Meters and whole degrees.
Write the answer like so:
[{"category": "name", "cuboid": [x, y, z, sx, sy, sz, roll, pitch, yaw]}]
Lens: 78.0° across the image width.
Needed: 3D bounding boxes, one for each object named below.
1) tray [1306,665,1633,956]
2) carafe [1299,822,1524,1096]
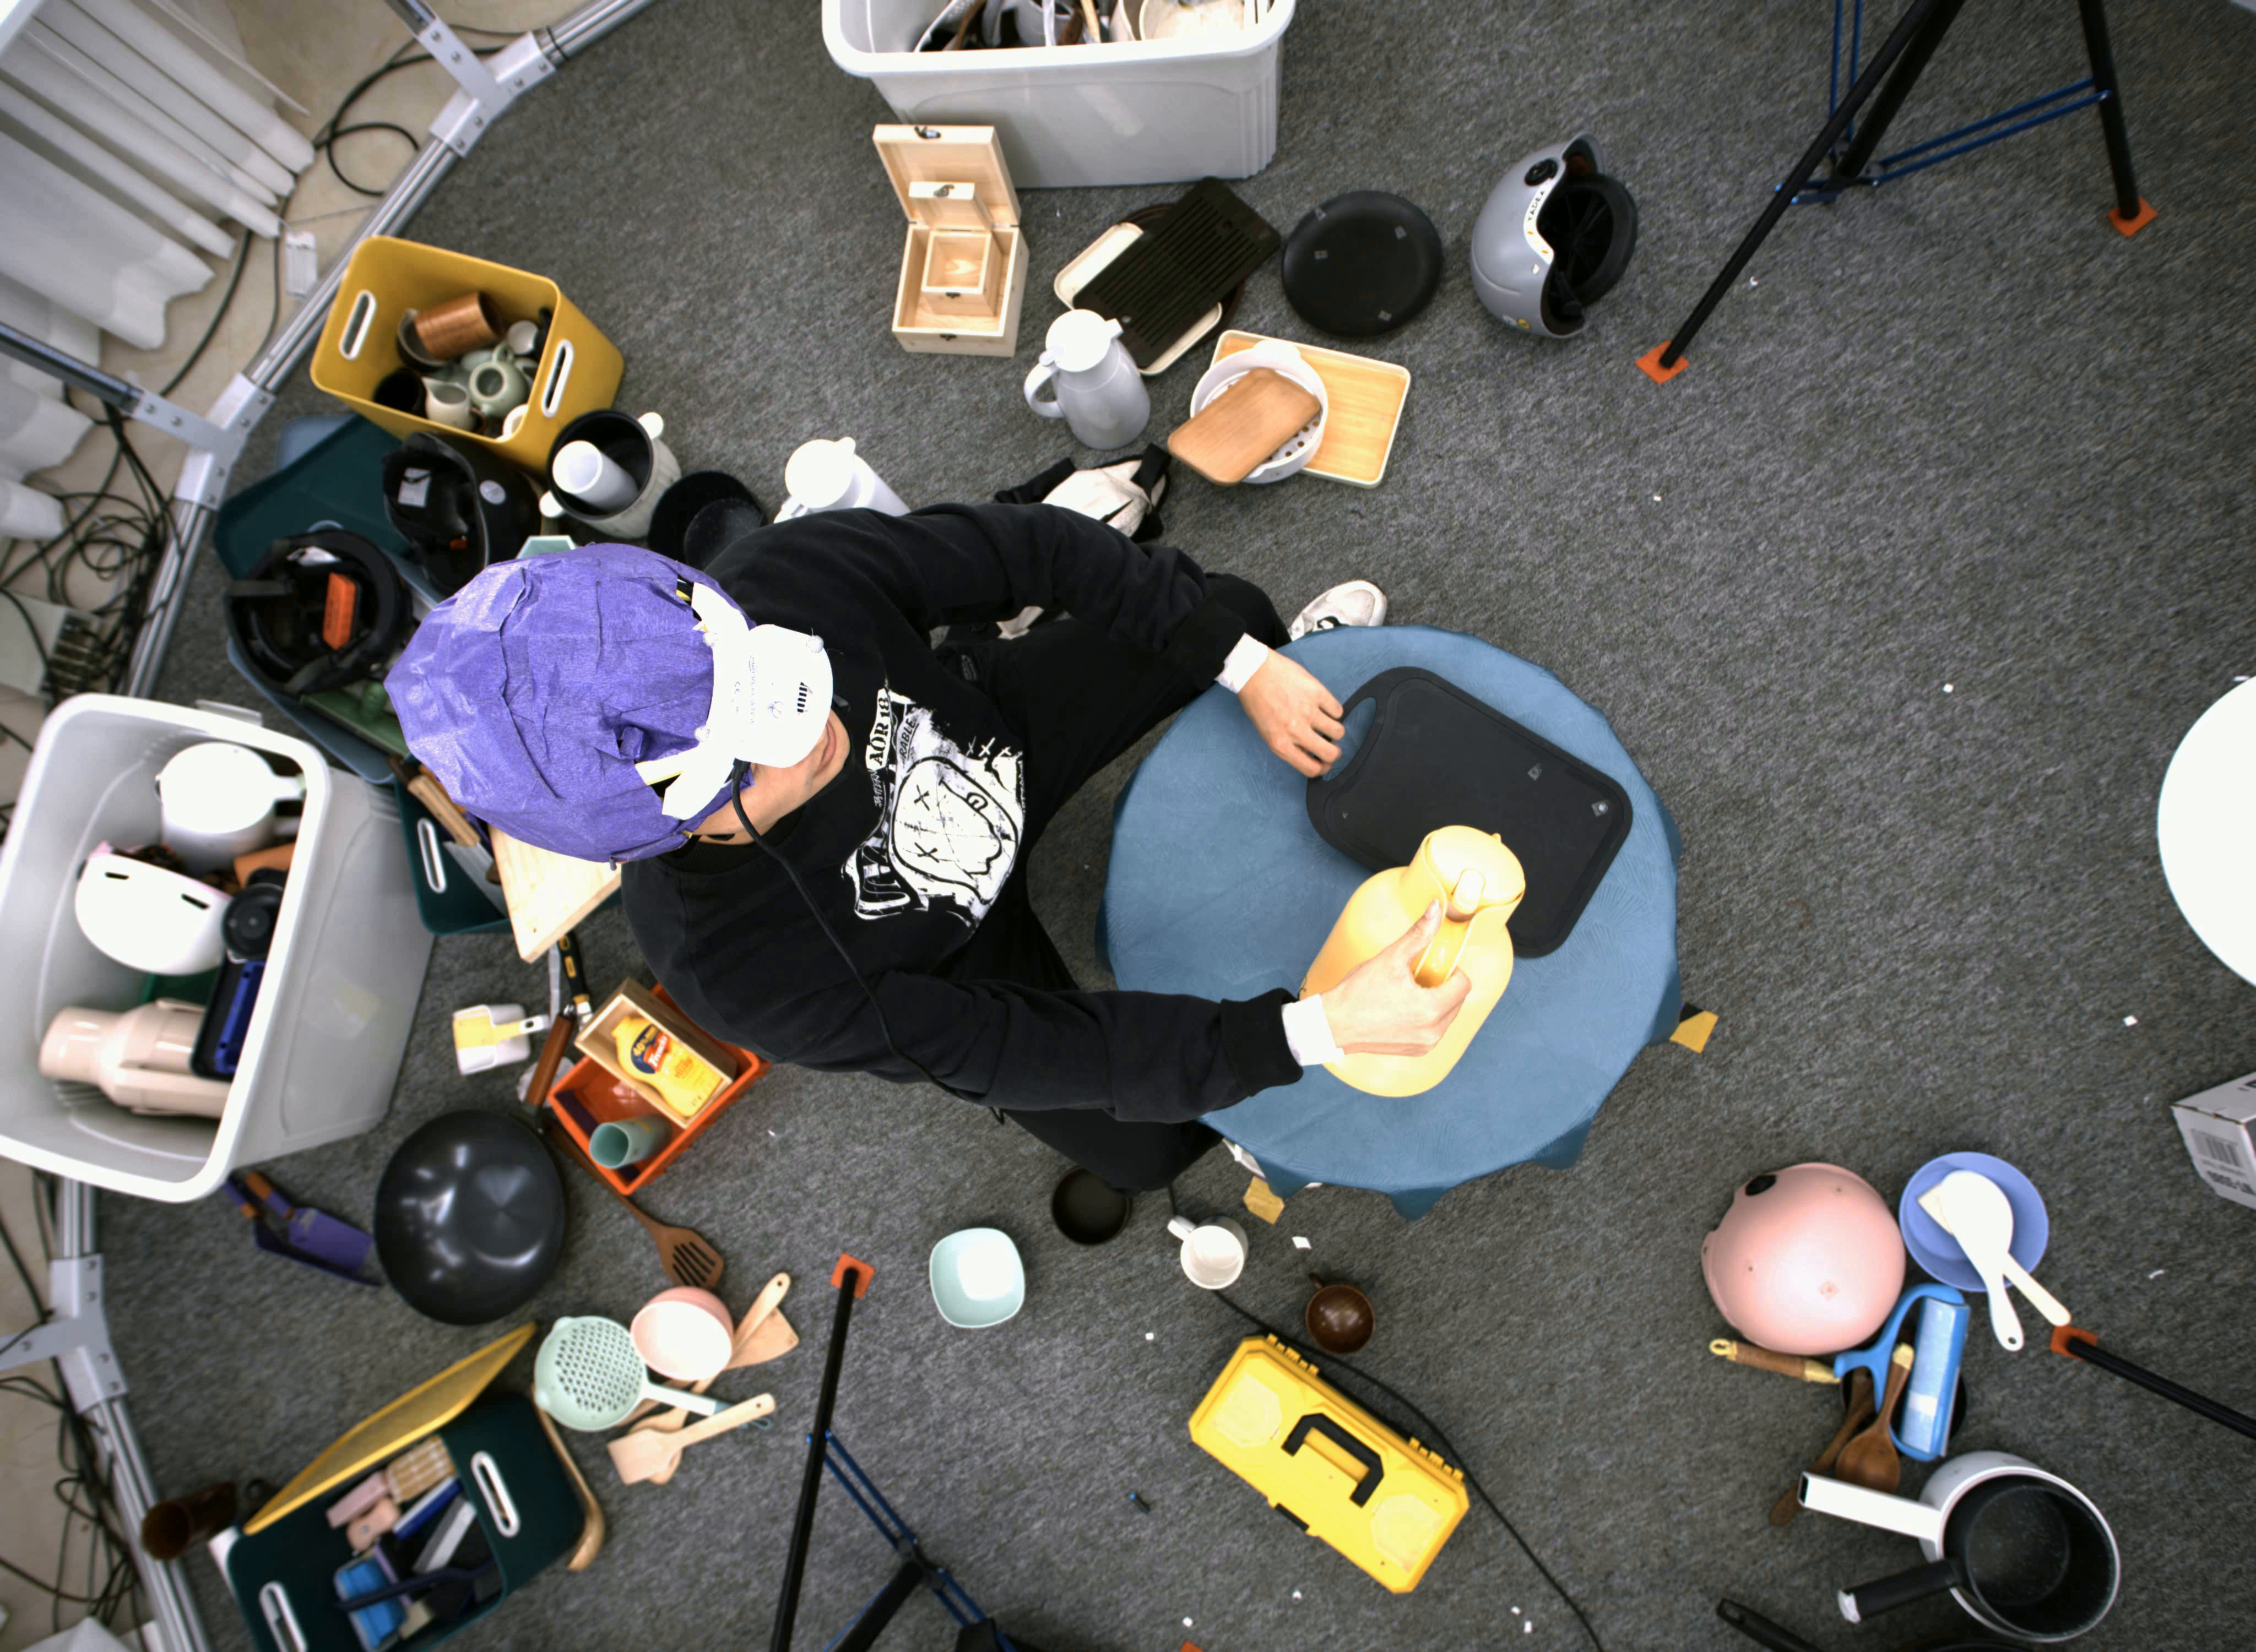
[{"category": "tray", "cuboid": [0.347, -0.022, 1.422, 0.325, 0.010, 0.211, 31, 93, 1]}, {"category": "carafe", "cuboid": [0.258, 0.127, 1.252, 0.163, 0.197, 0.267, 27, 132, 9]}]
